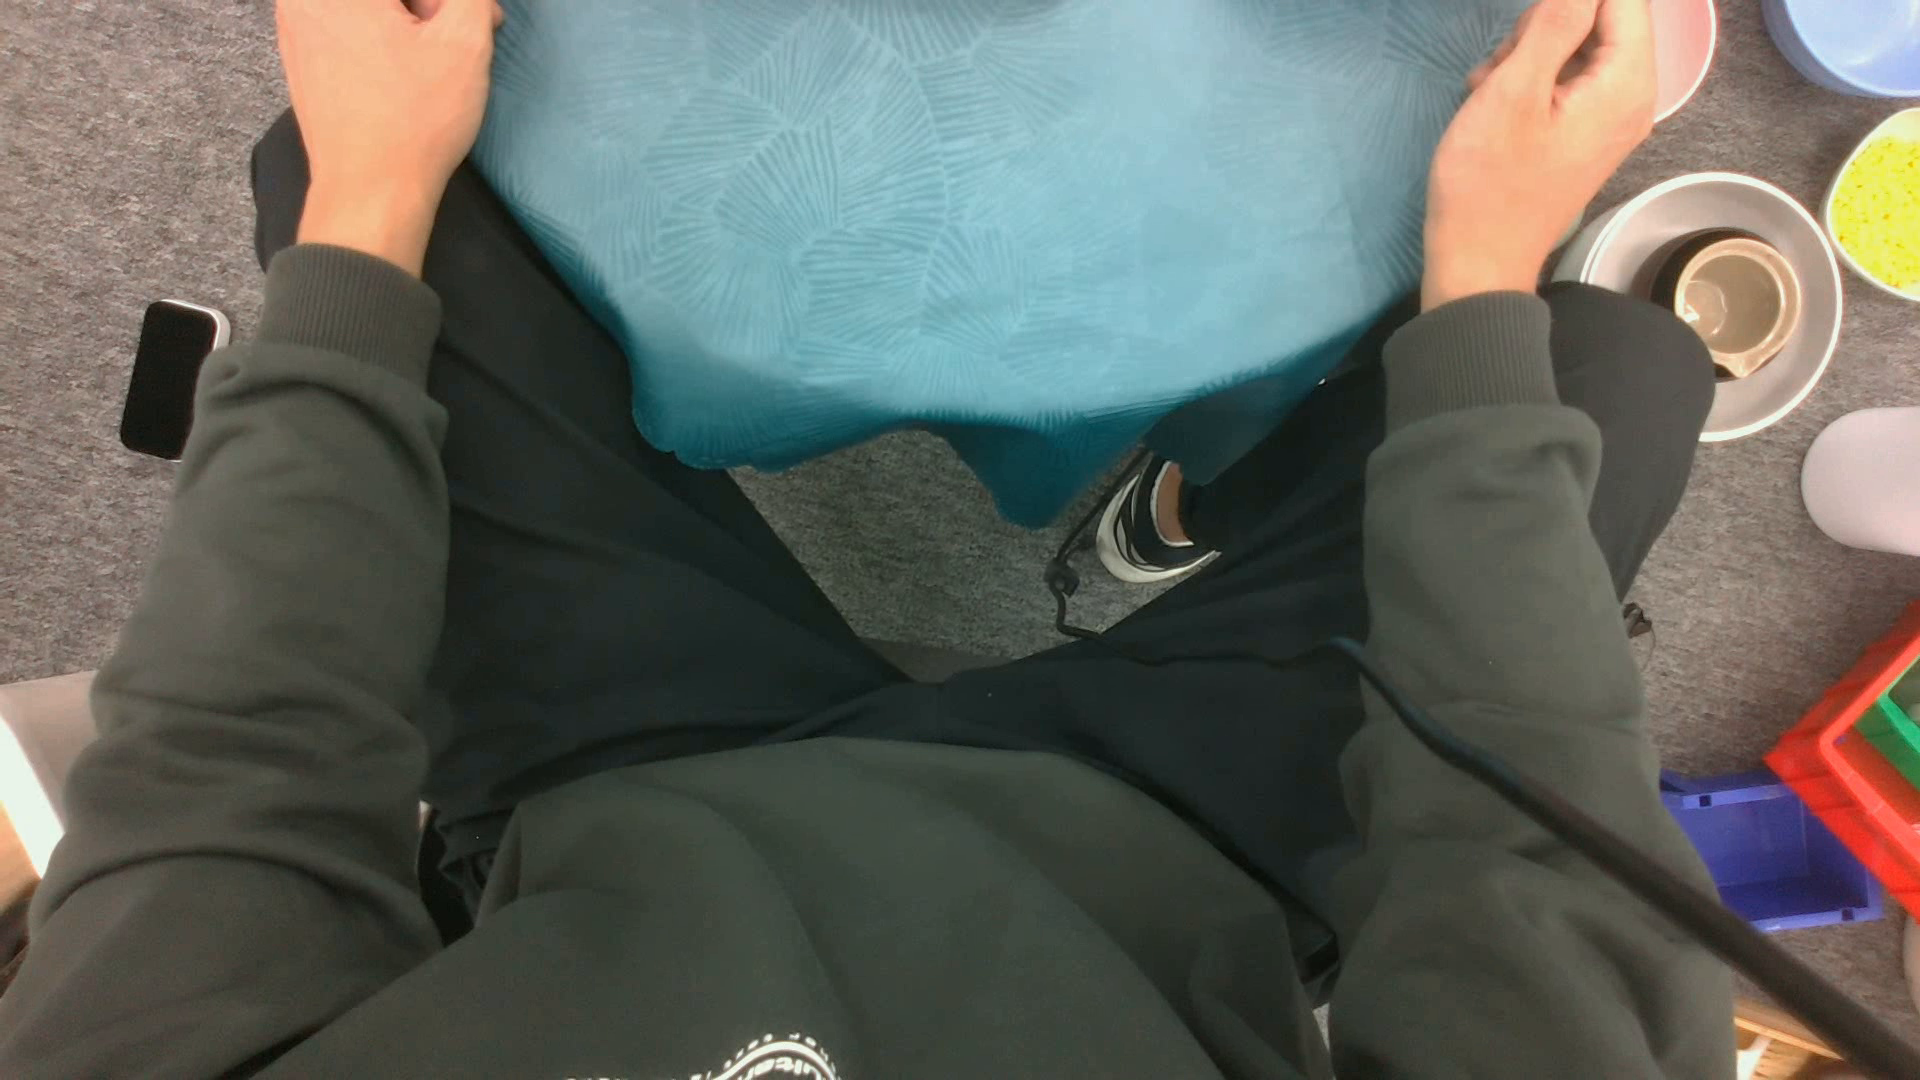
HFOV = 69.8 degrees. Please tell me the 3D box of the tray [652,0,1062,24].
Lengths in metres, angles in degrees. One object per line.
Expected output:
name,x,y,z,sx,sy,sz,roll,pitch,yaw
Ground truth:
tray,-0.096,-0.330,0.593,0.300,0.027,0.191,4,94,0
